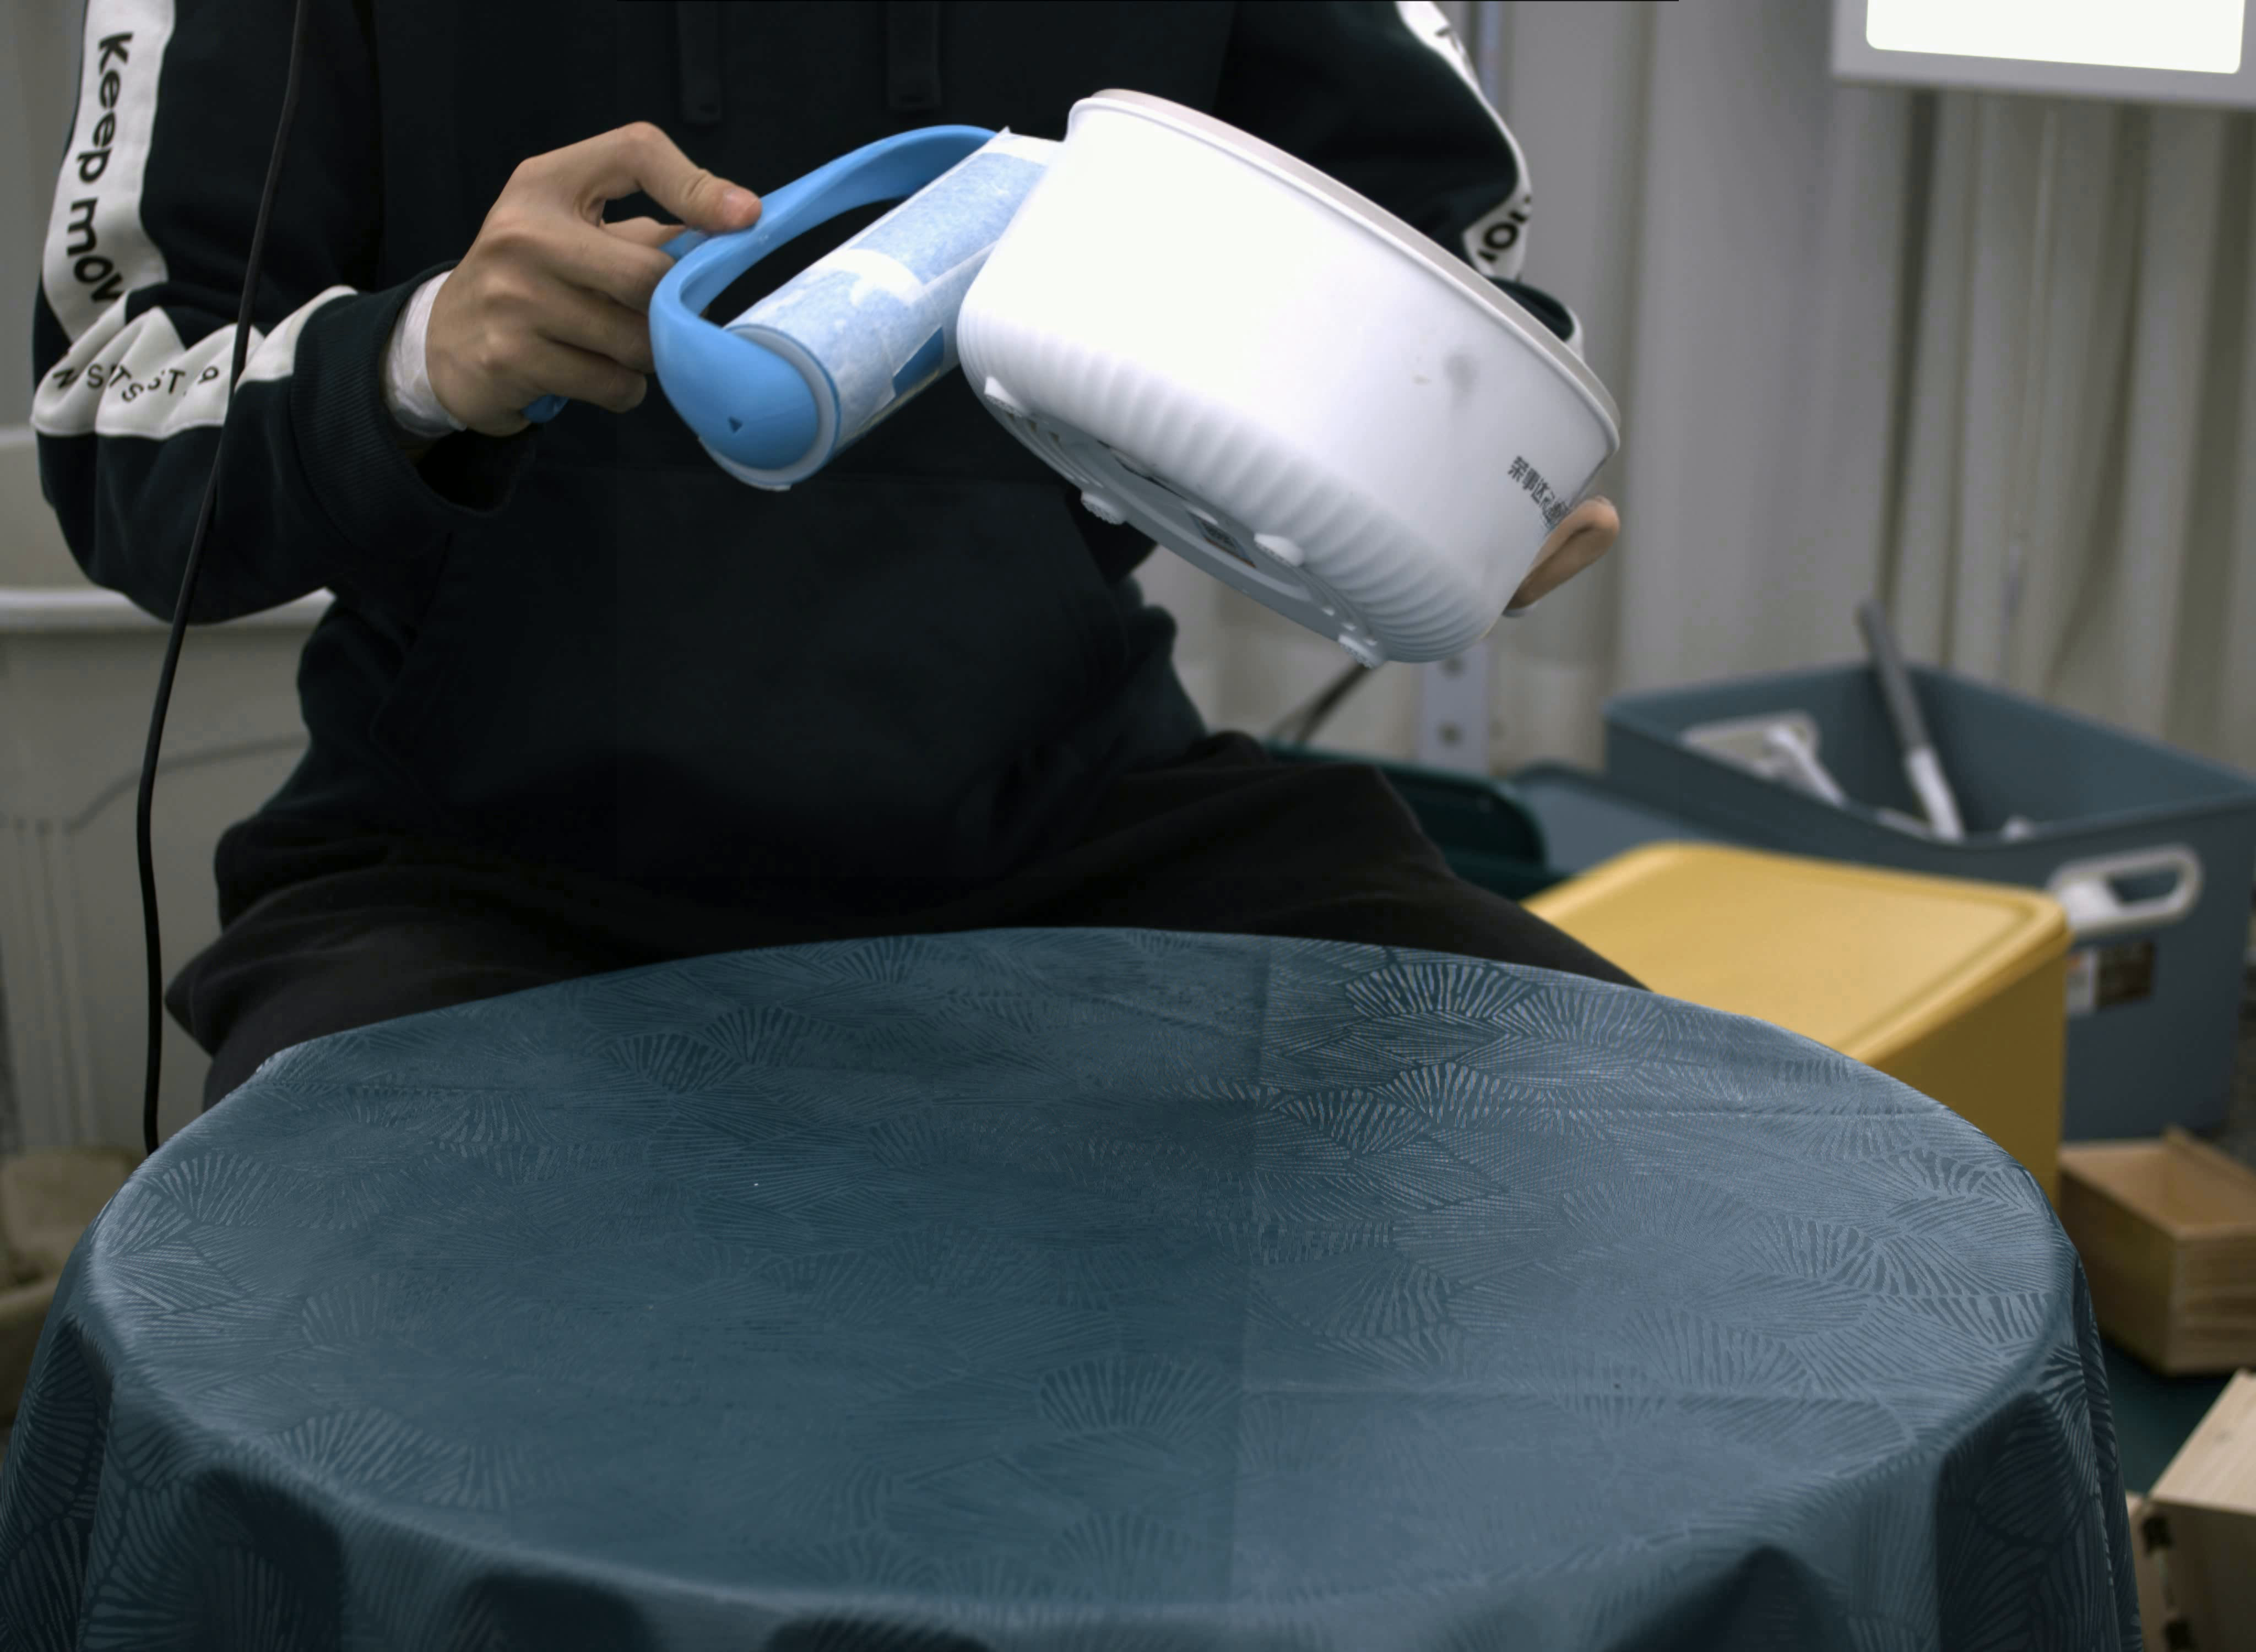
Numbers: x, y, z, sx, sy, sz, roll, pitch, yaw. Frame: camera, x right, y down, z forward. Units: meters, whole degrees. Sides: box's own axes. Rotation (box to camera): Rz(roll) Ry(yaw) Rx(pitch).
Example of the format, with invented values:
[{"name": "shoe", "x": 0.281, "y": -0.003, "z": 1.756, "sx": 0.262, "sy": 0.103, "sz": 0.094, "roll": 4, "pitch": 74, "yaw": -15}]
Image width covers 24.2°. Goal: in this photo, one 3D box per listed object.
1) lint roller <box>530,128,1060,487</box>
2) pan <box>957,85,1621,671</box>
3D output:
[{"name": "lint roller", "x": -0.125, "y": -0.165, "z": 1.709, "sx": 0.178, "sy": 0.068, "sz": 0.228, "roll": -4, "pitch": 24, "yaw": 25}, {"name": "pan", "x": 0.066, "y": -0.110, "z": 1.703, "sx": 0.199, "sy": 0.102, "sz": 0.358, "roll": 29, "pitch": -7, "yaw": 22}]
